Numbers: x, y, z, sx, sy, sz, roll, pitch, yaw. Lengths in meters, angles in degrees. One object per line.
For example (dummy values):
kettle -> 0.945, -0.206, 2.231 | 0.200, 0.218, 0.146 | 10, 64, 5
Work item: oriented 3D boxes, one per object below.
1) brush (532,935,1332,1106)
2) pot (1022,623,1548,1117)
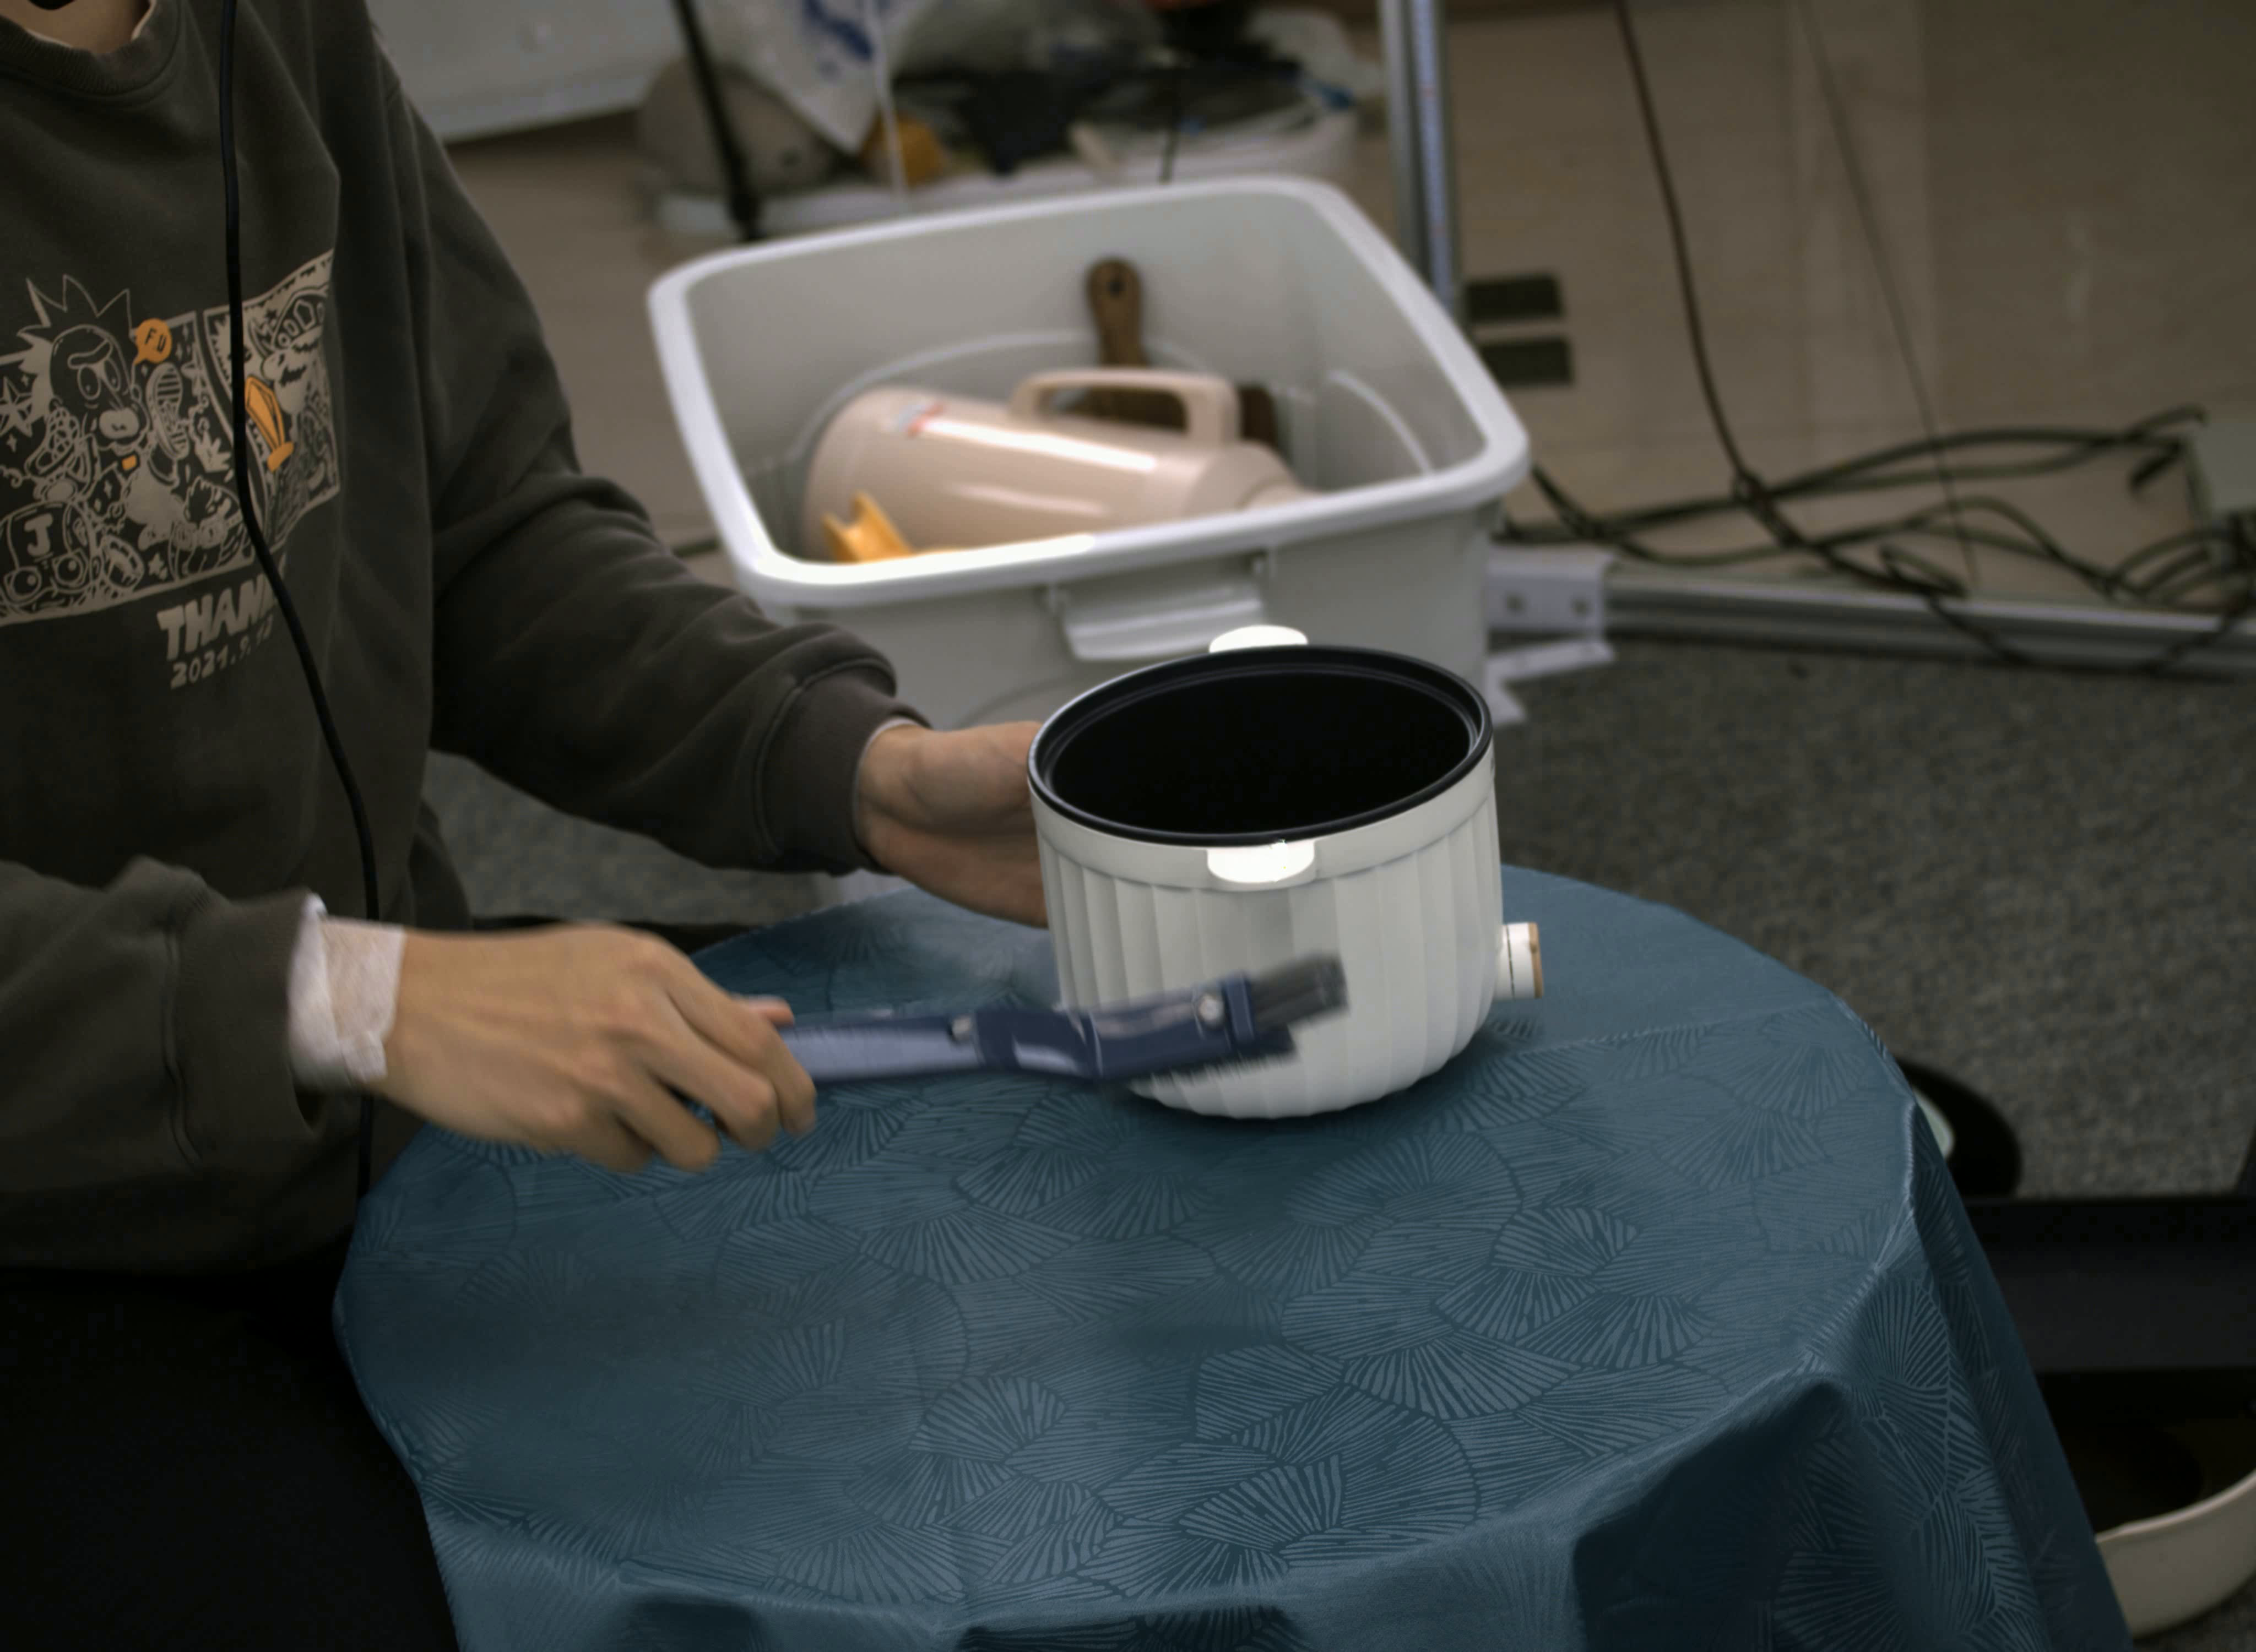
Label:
brush -> -0.070, 0.066, 1.996 | 0.273, 0.097, 0.033 | -2, 69, -14
pot -> 0.063, 0.023, 2.210 | 0.190, 0.145, 0.237 | -9, 27, 5
